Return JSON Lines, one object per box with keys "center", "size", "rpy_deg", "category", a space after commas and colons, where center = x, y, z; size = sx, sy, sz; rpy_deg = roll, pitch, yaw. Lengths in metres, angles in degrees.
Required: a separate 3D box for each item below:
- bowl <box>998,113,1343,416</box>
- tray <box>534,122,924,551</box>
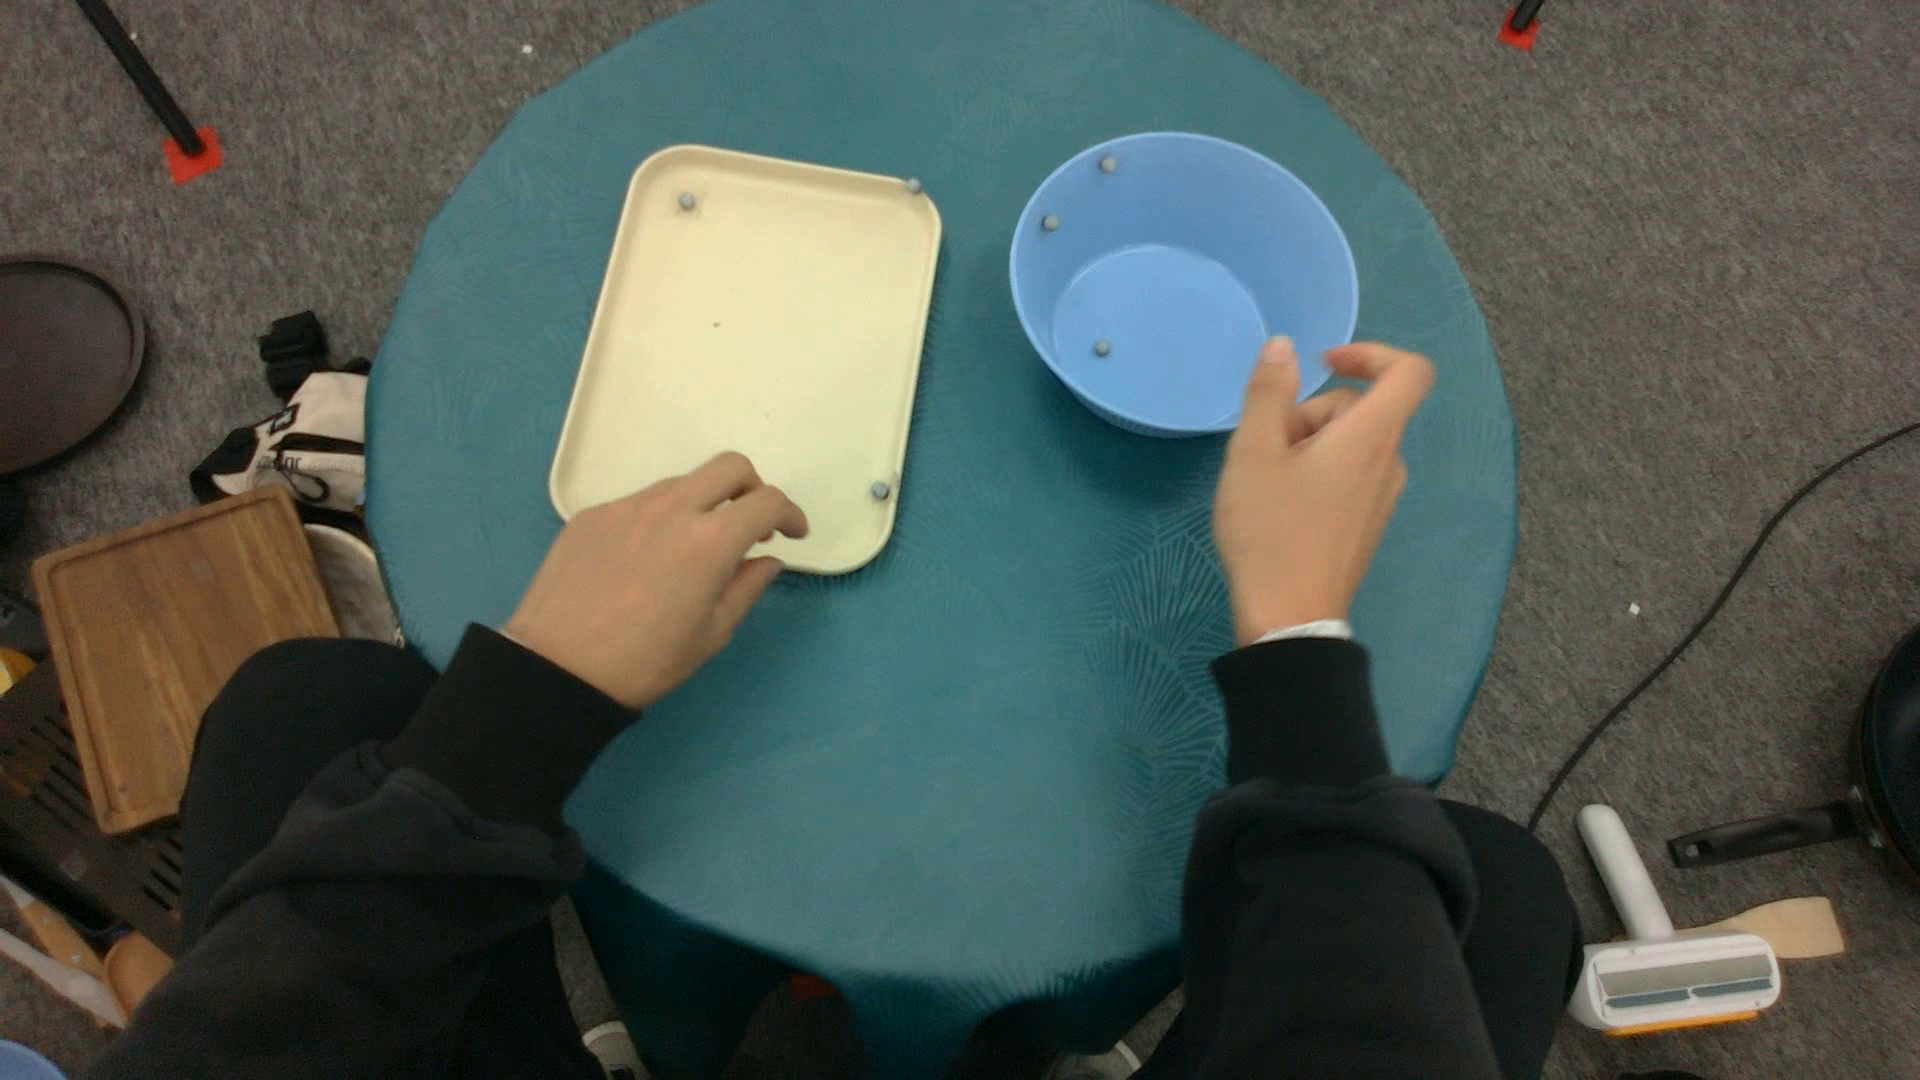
{"center": [0.103, -0.132, 0.718], "size": [0.176, 0.070, 0.176], "rpy_deg": [2, 67, -5], "category": "bowl"}
{"center": [-0.114, -0.110, 0.717], "size": [0.171, 0.017, 0.240], "rpy_deg": [9, 67, -1], "category": "tray"}
